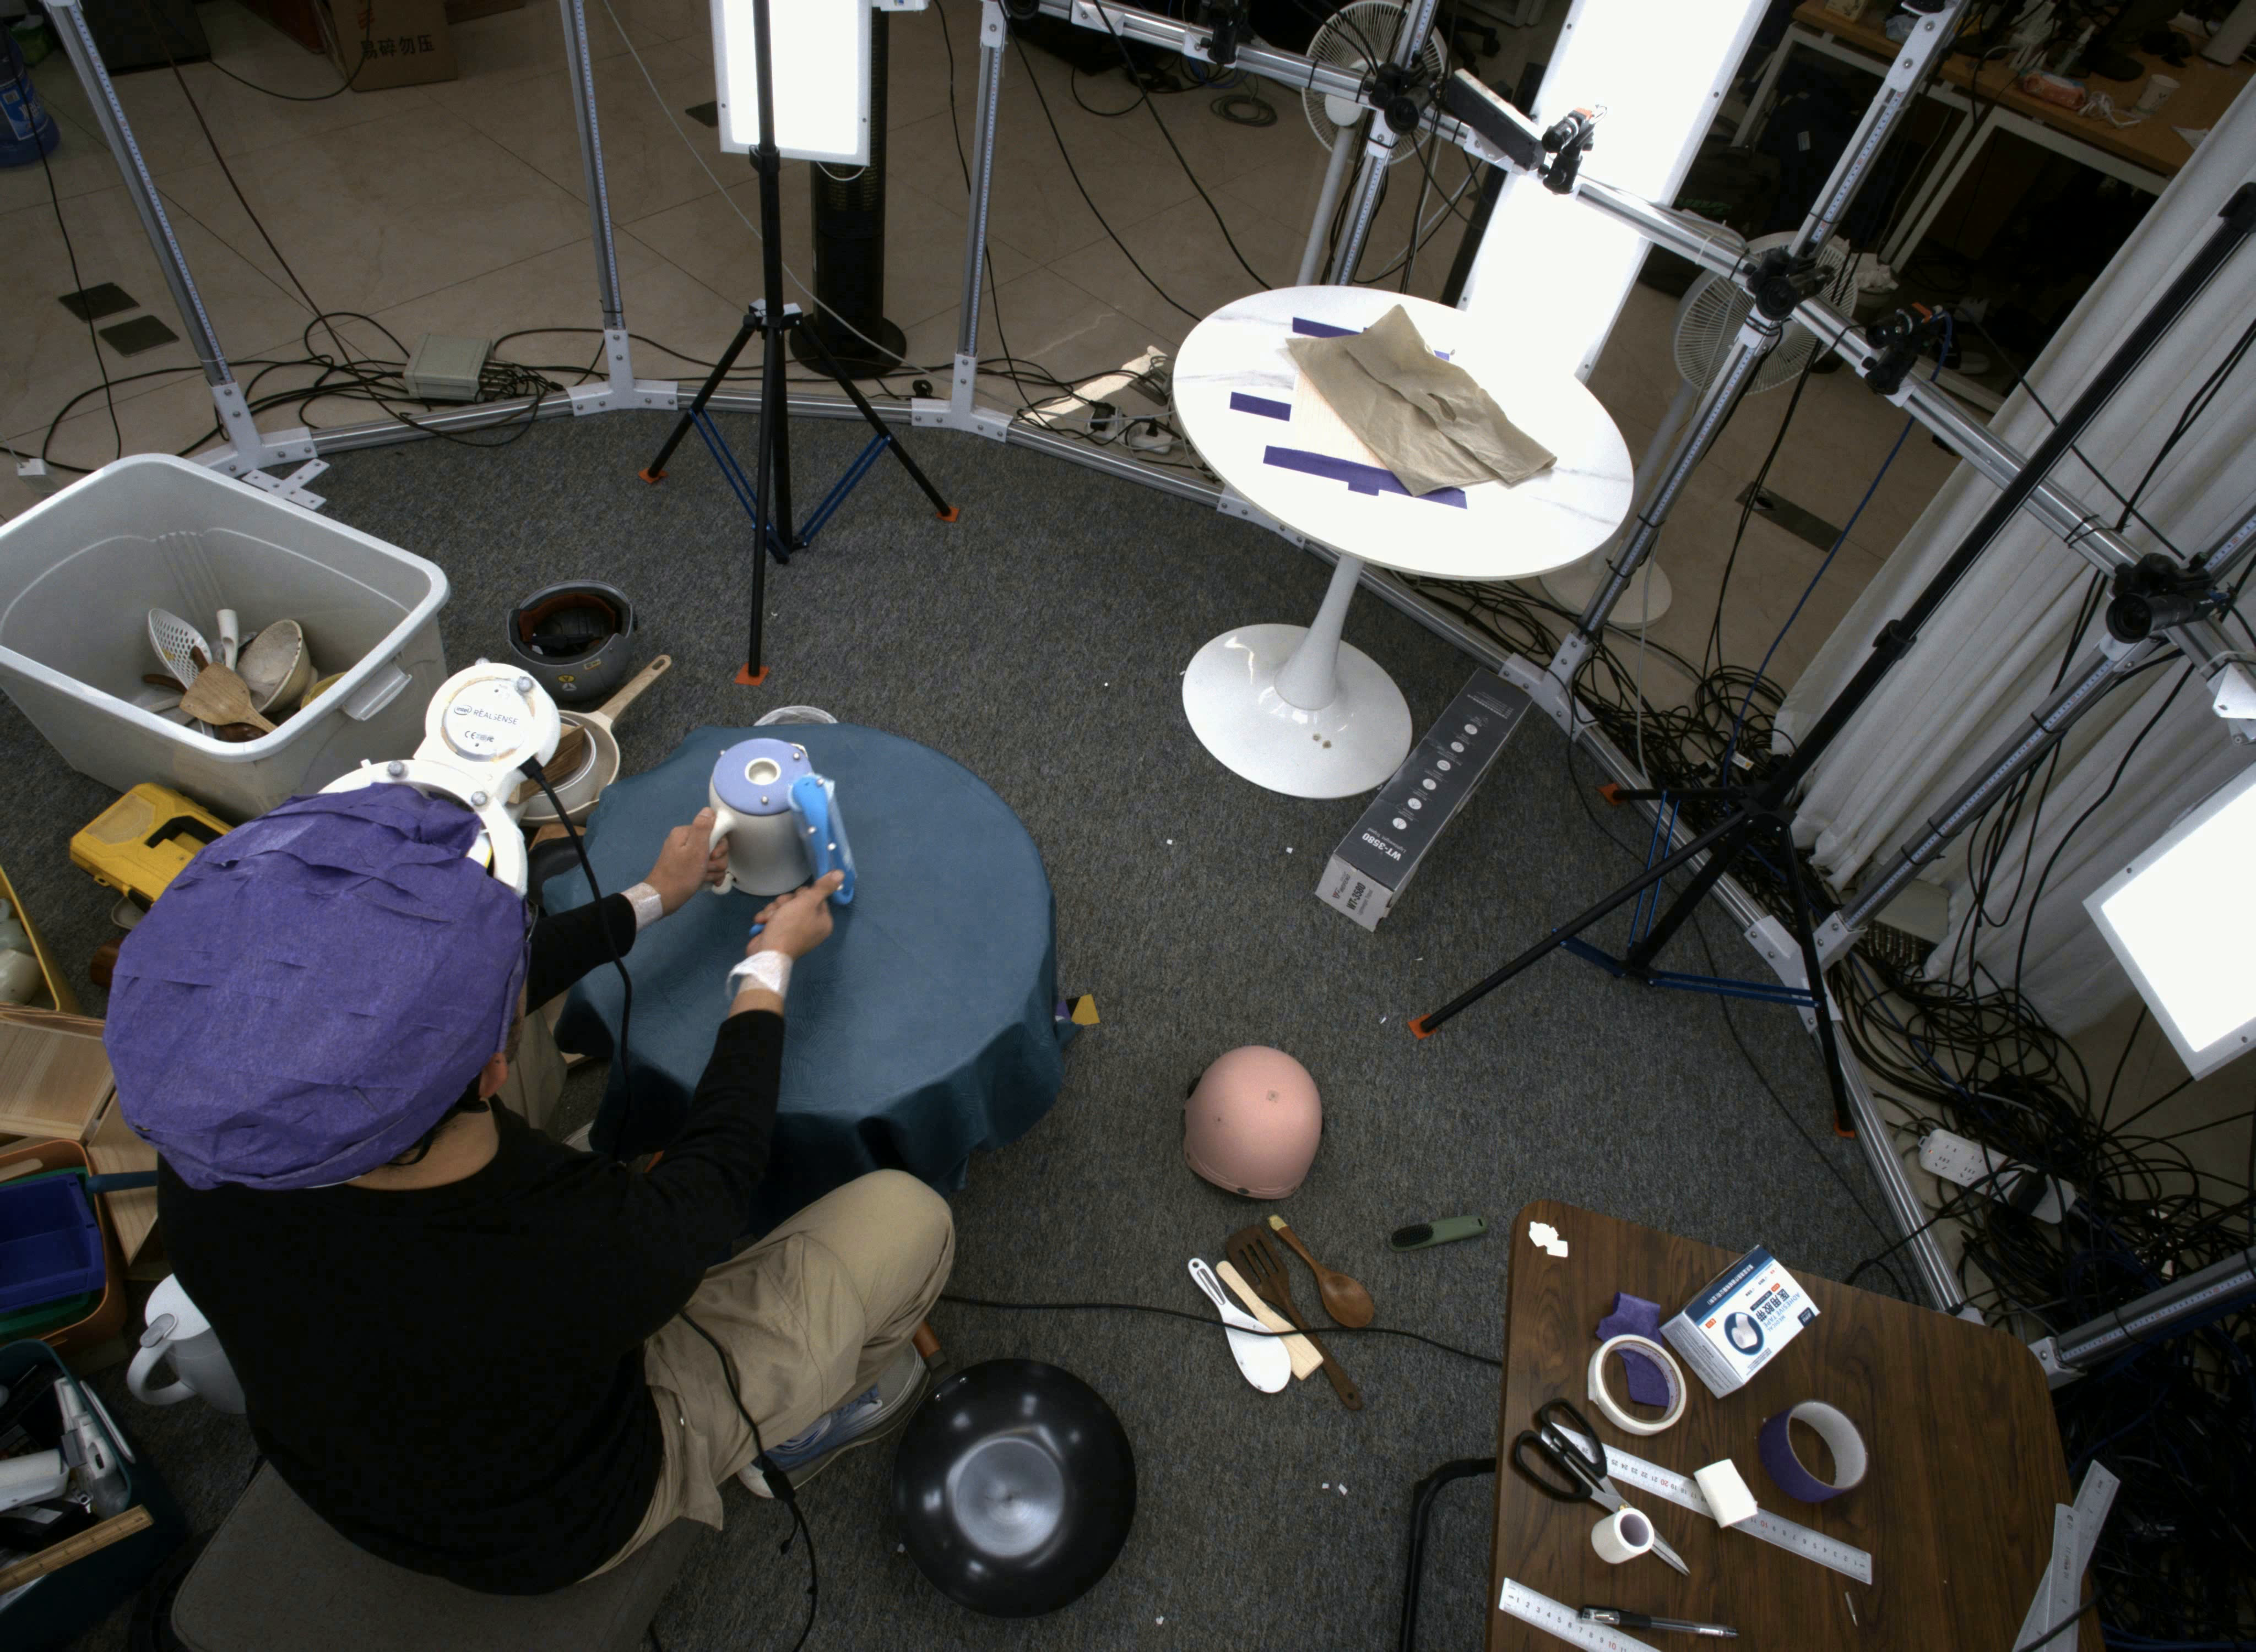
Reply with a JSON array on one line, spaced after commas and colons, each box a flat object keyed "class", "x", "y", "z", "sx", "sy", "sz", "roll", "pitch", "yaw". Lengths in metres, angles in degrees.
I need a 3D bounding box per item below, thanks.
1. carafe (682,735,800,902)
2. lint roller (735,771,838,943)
[{"class": "carafe", "x": -0.480, "y": 0.004, "z": 1.590, "sx": 0.130, "sy": 0.186, "sz": 0.190, "roll": 29, "pitch": 54, "yaw": 12}, {"class": "lint roller", "x": -0.401, "y": 0.062, "z": 1.532, "sx": 0.067, "sy": 0.234, "sz": 0.178, "roll": 12, "pitch": 60, "yaw": 4}]
